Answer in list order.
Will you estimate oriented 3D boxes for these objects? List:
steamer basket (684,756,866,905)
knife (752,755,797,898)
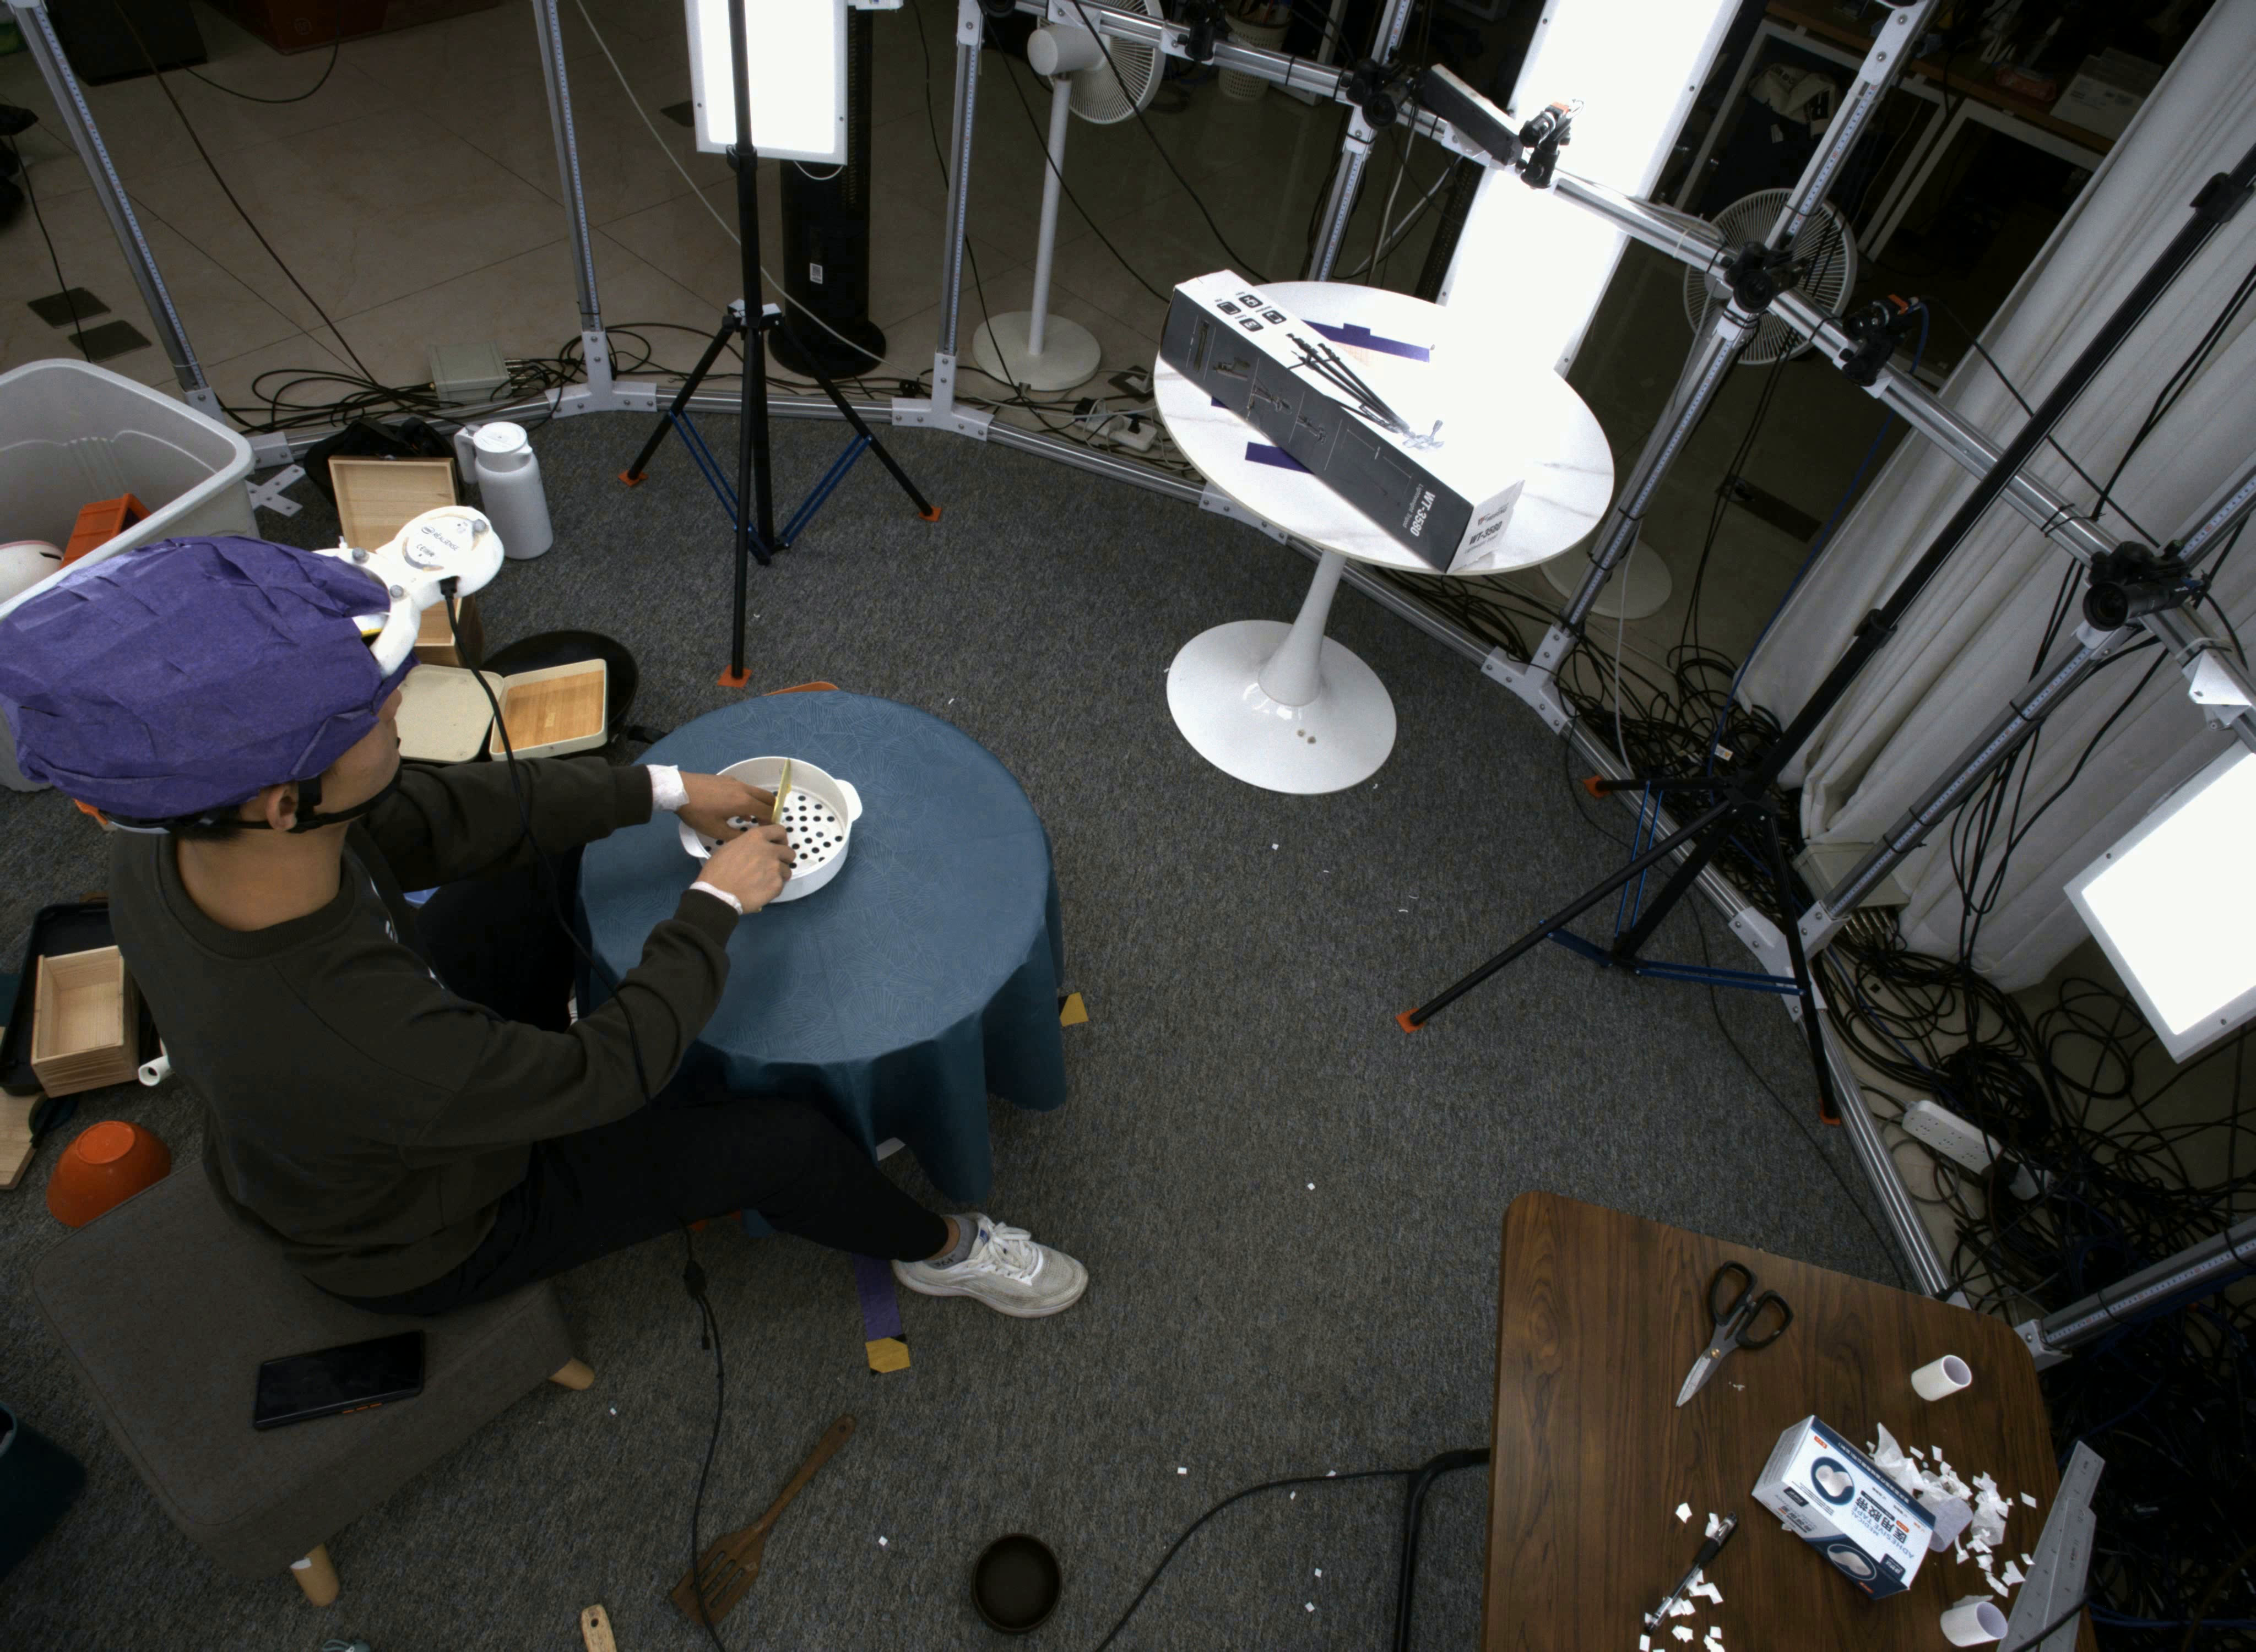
[{"bbox_3d":[-0.454,0.004,1.681,0.231,0.071,0.197,-16,58,-22],"label":"steamer basket"},{"bbox_3d":[-0.434,0.000,1.601,0.027,0.082,0.282,17,33,-16],"label":"knife"}]
